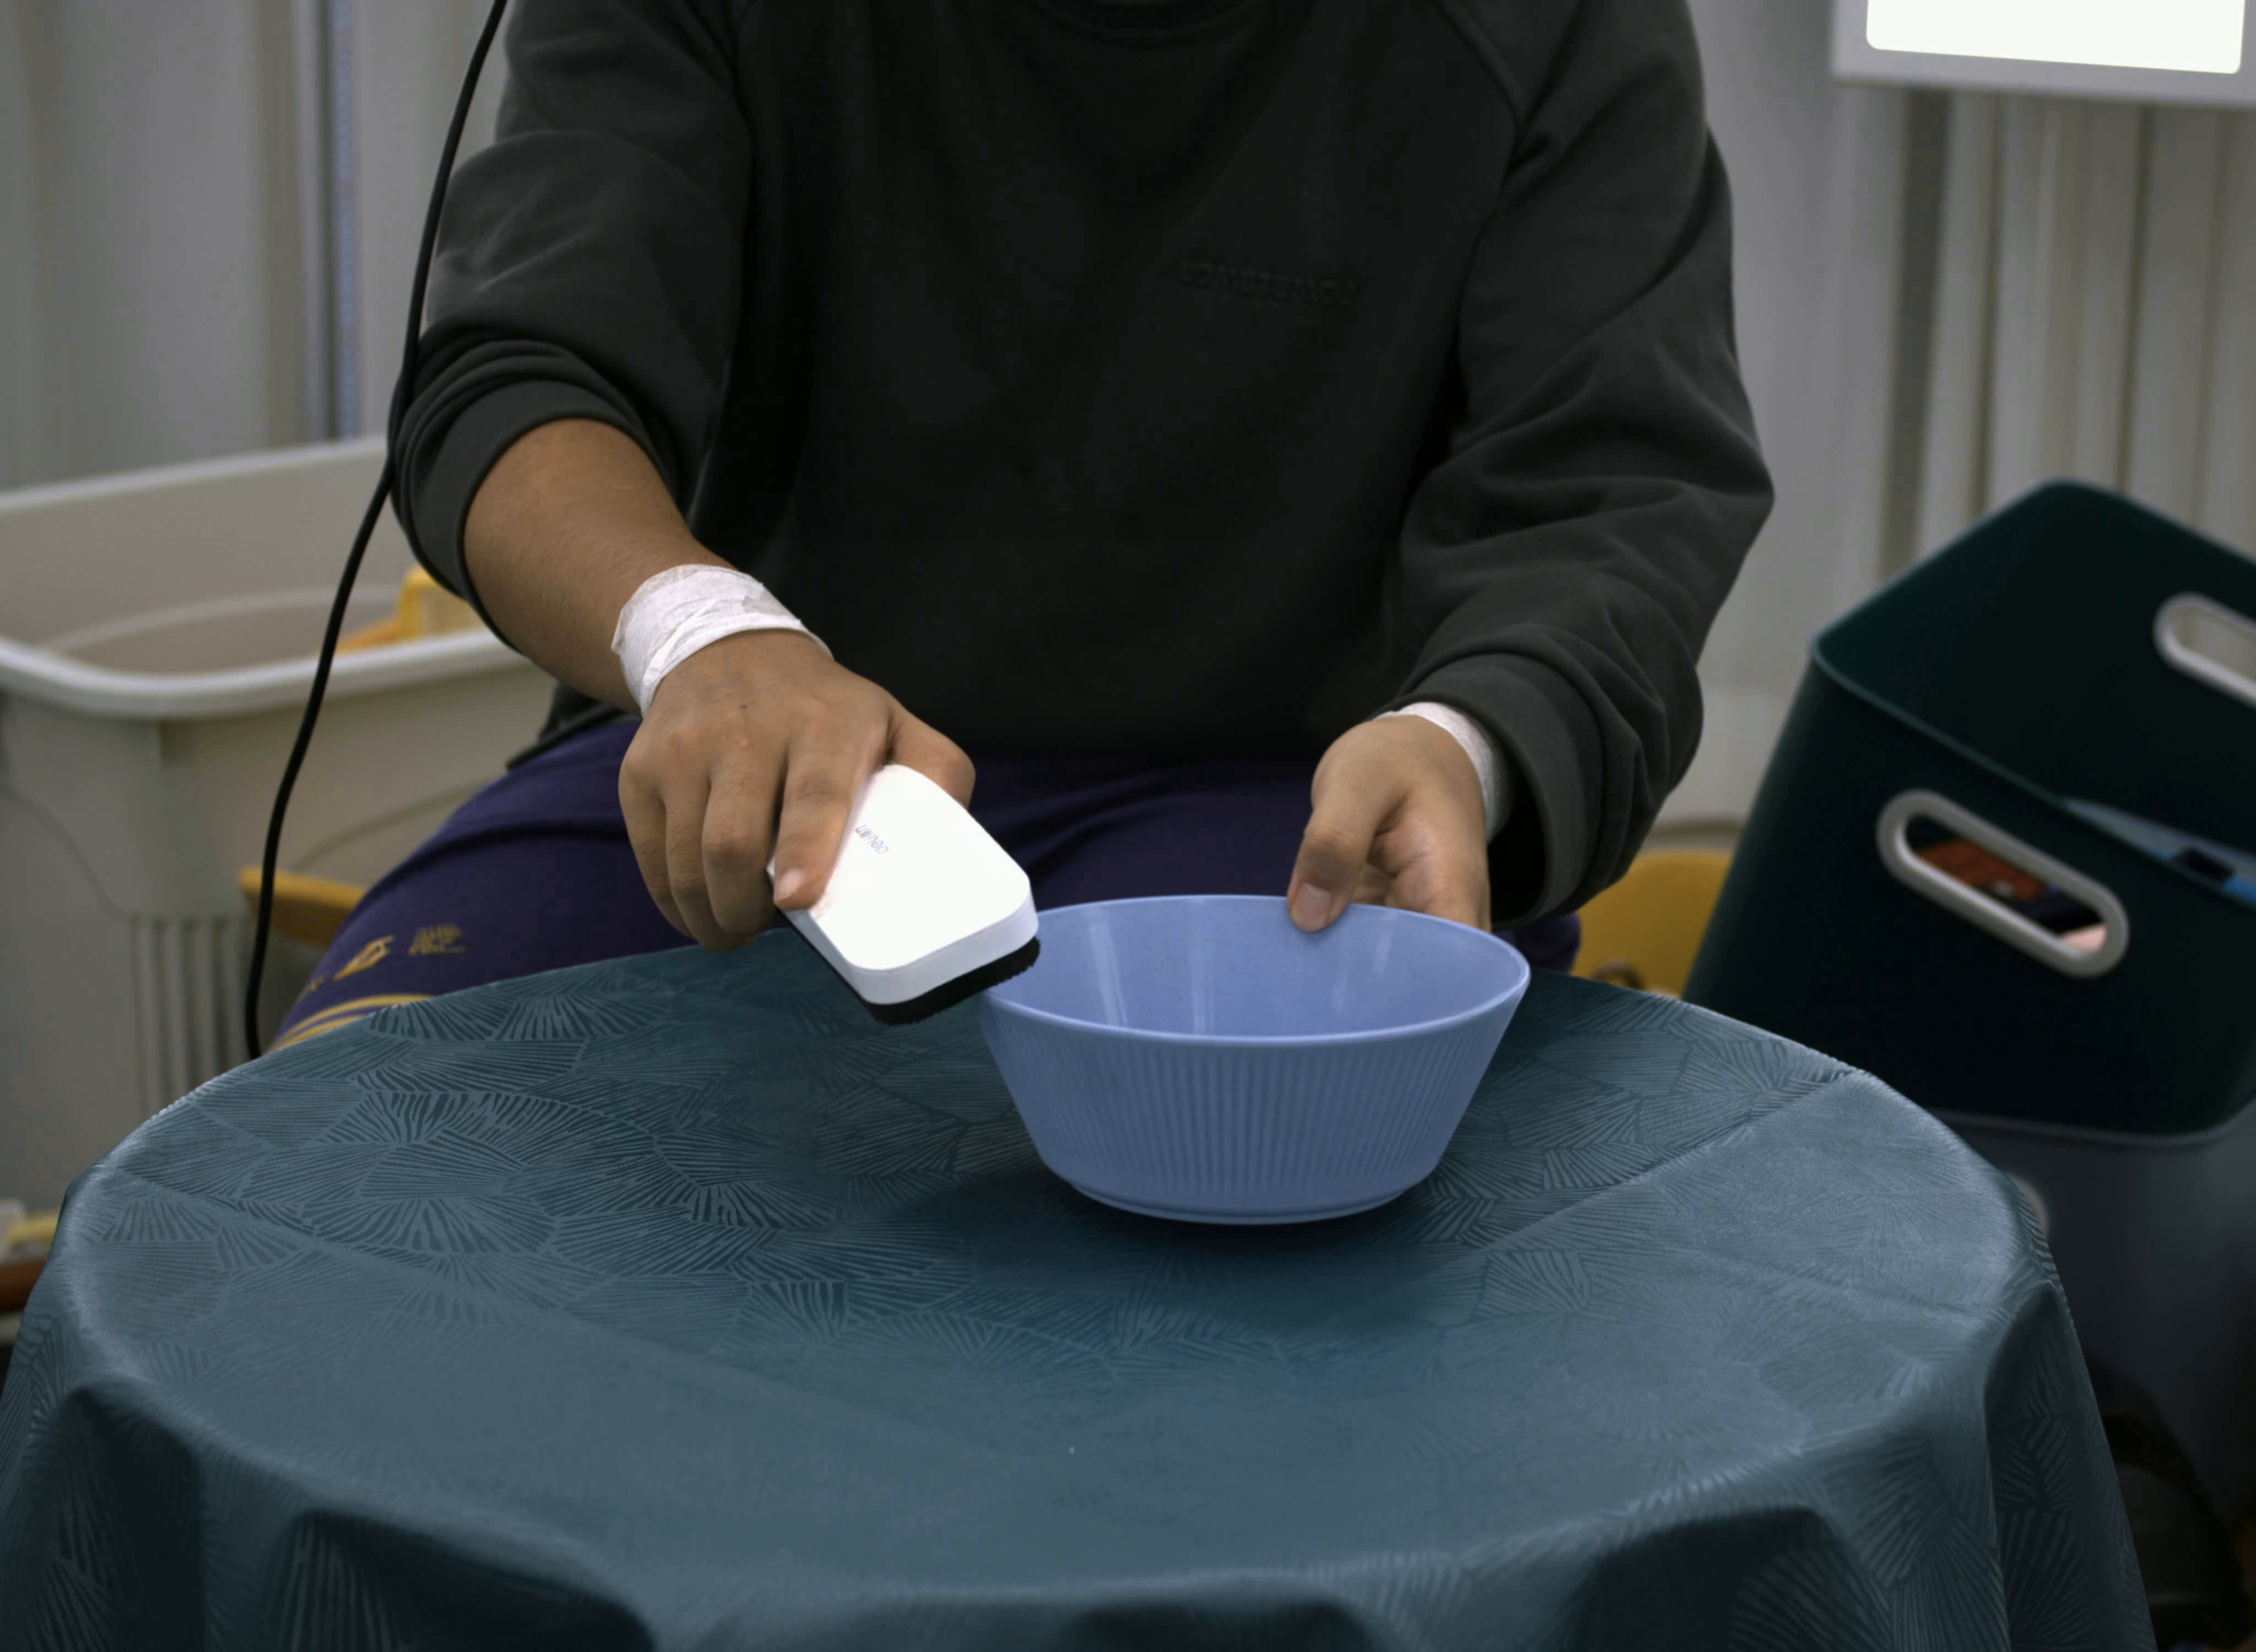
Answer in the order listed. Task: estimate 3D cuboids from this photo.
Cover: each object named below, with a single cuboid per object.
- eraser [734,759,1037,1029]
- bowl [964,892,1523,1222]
[{"bbox_3d":[-0.073,0.017,1.603,0.063,0.035,0.129,-23,29,-13],"label":"eraser"},{"bbox_3d":[0.031,0.072,1.607,0.175,0.071,0.175,3,14,0],"label":"bowl"}]
